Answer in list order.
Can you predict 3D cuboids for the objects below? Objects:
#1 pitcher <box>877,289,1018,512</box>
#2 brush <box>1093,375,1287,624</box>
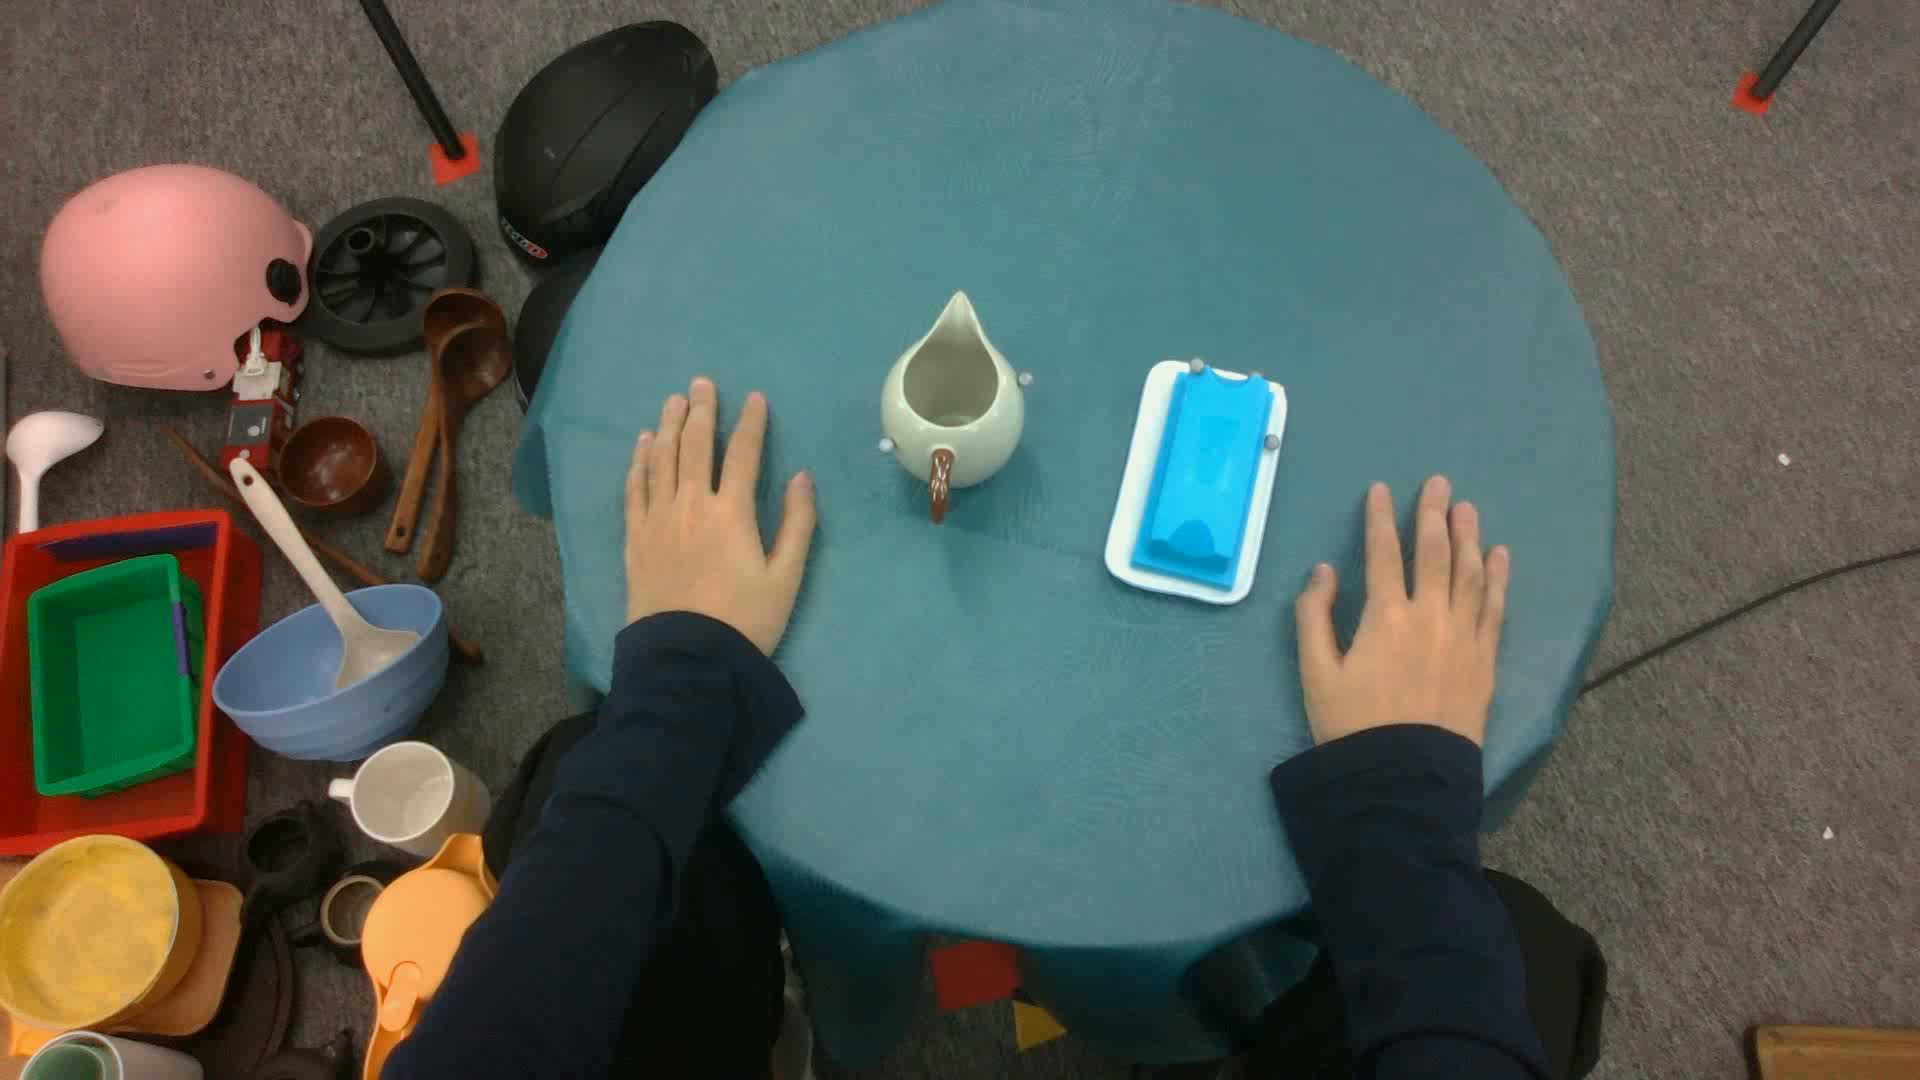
[{"bbox_3d":[-0.008,-0.062,0.745,0.076,0.087,0.119,9,63,10],"label":"pitcher"},{"bbox_3d":[0.127,-0.030,0.745,0.084,0.056,0.144,15,66,10],"label":"brush"}]
